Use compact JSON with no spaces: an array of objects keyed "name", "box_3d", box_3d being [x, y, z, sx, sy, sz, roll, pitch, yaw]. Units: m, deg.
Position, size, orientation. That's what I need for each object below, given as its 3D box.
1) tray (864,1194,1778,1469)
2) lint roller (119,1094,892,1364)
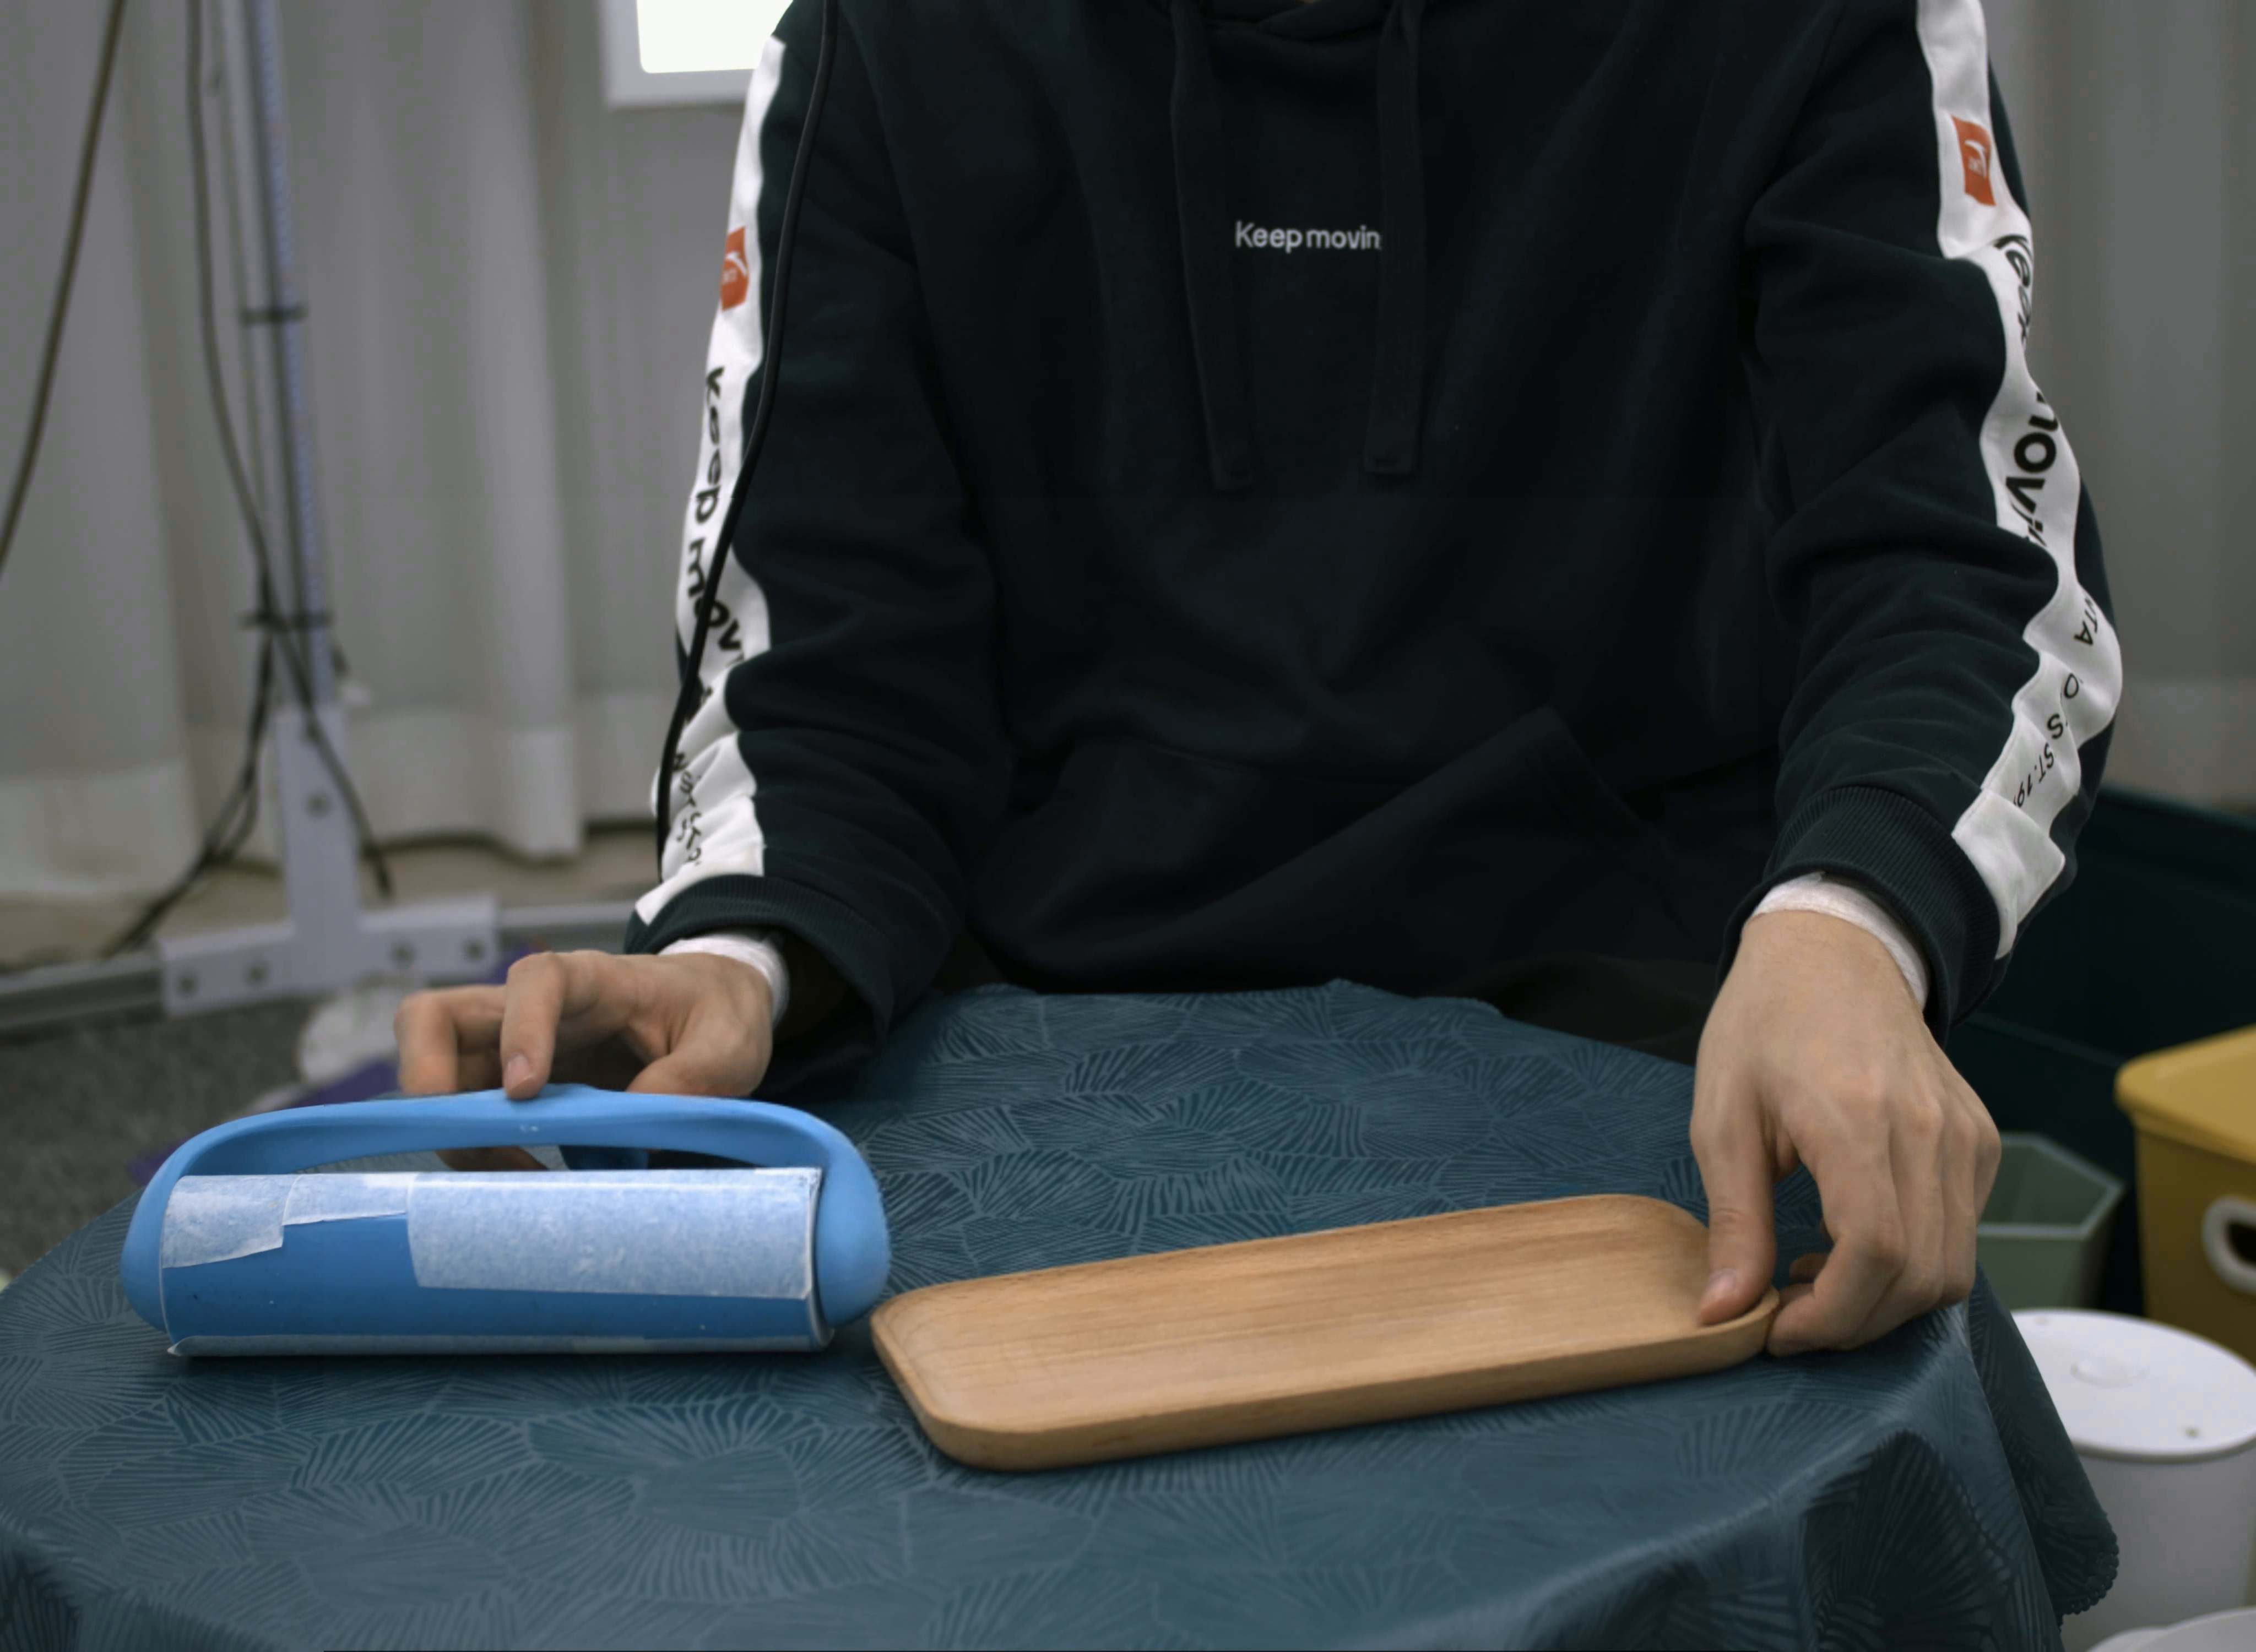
[{"name":"tray","box_3d":[0.054,0.143,1.562,0.249,0.023,0.131,-7,13,-12]},{"name":"lint roller","box_3d":[-0.178,0.112,1.653,0.228,0.067,0.181,-3,15,5]}]
